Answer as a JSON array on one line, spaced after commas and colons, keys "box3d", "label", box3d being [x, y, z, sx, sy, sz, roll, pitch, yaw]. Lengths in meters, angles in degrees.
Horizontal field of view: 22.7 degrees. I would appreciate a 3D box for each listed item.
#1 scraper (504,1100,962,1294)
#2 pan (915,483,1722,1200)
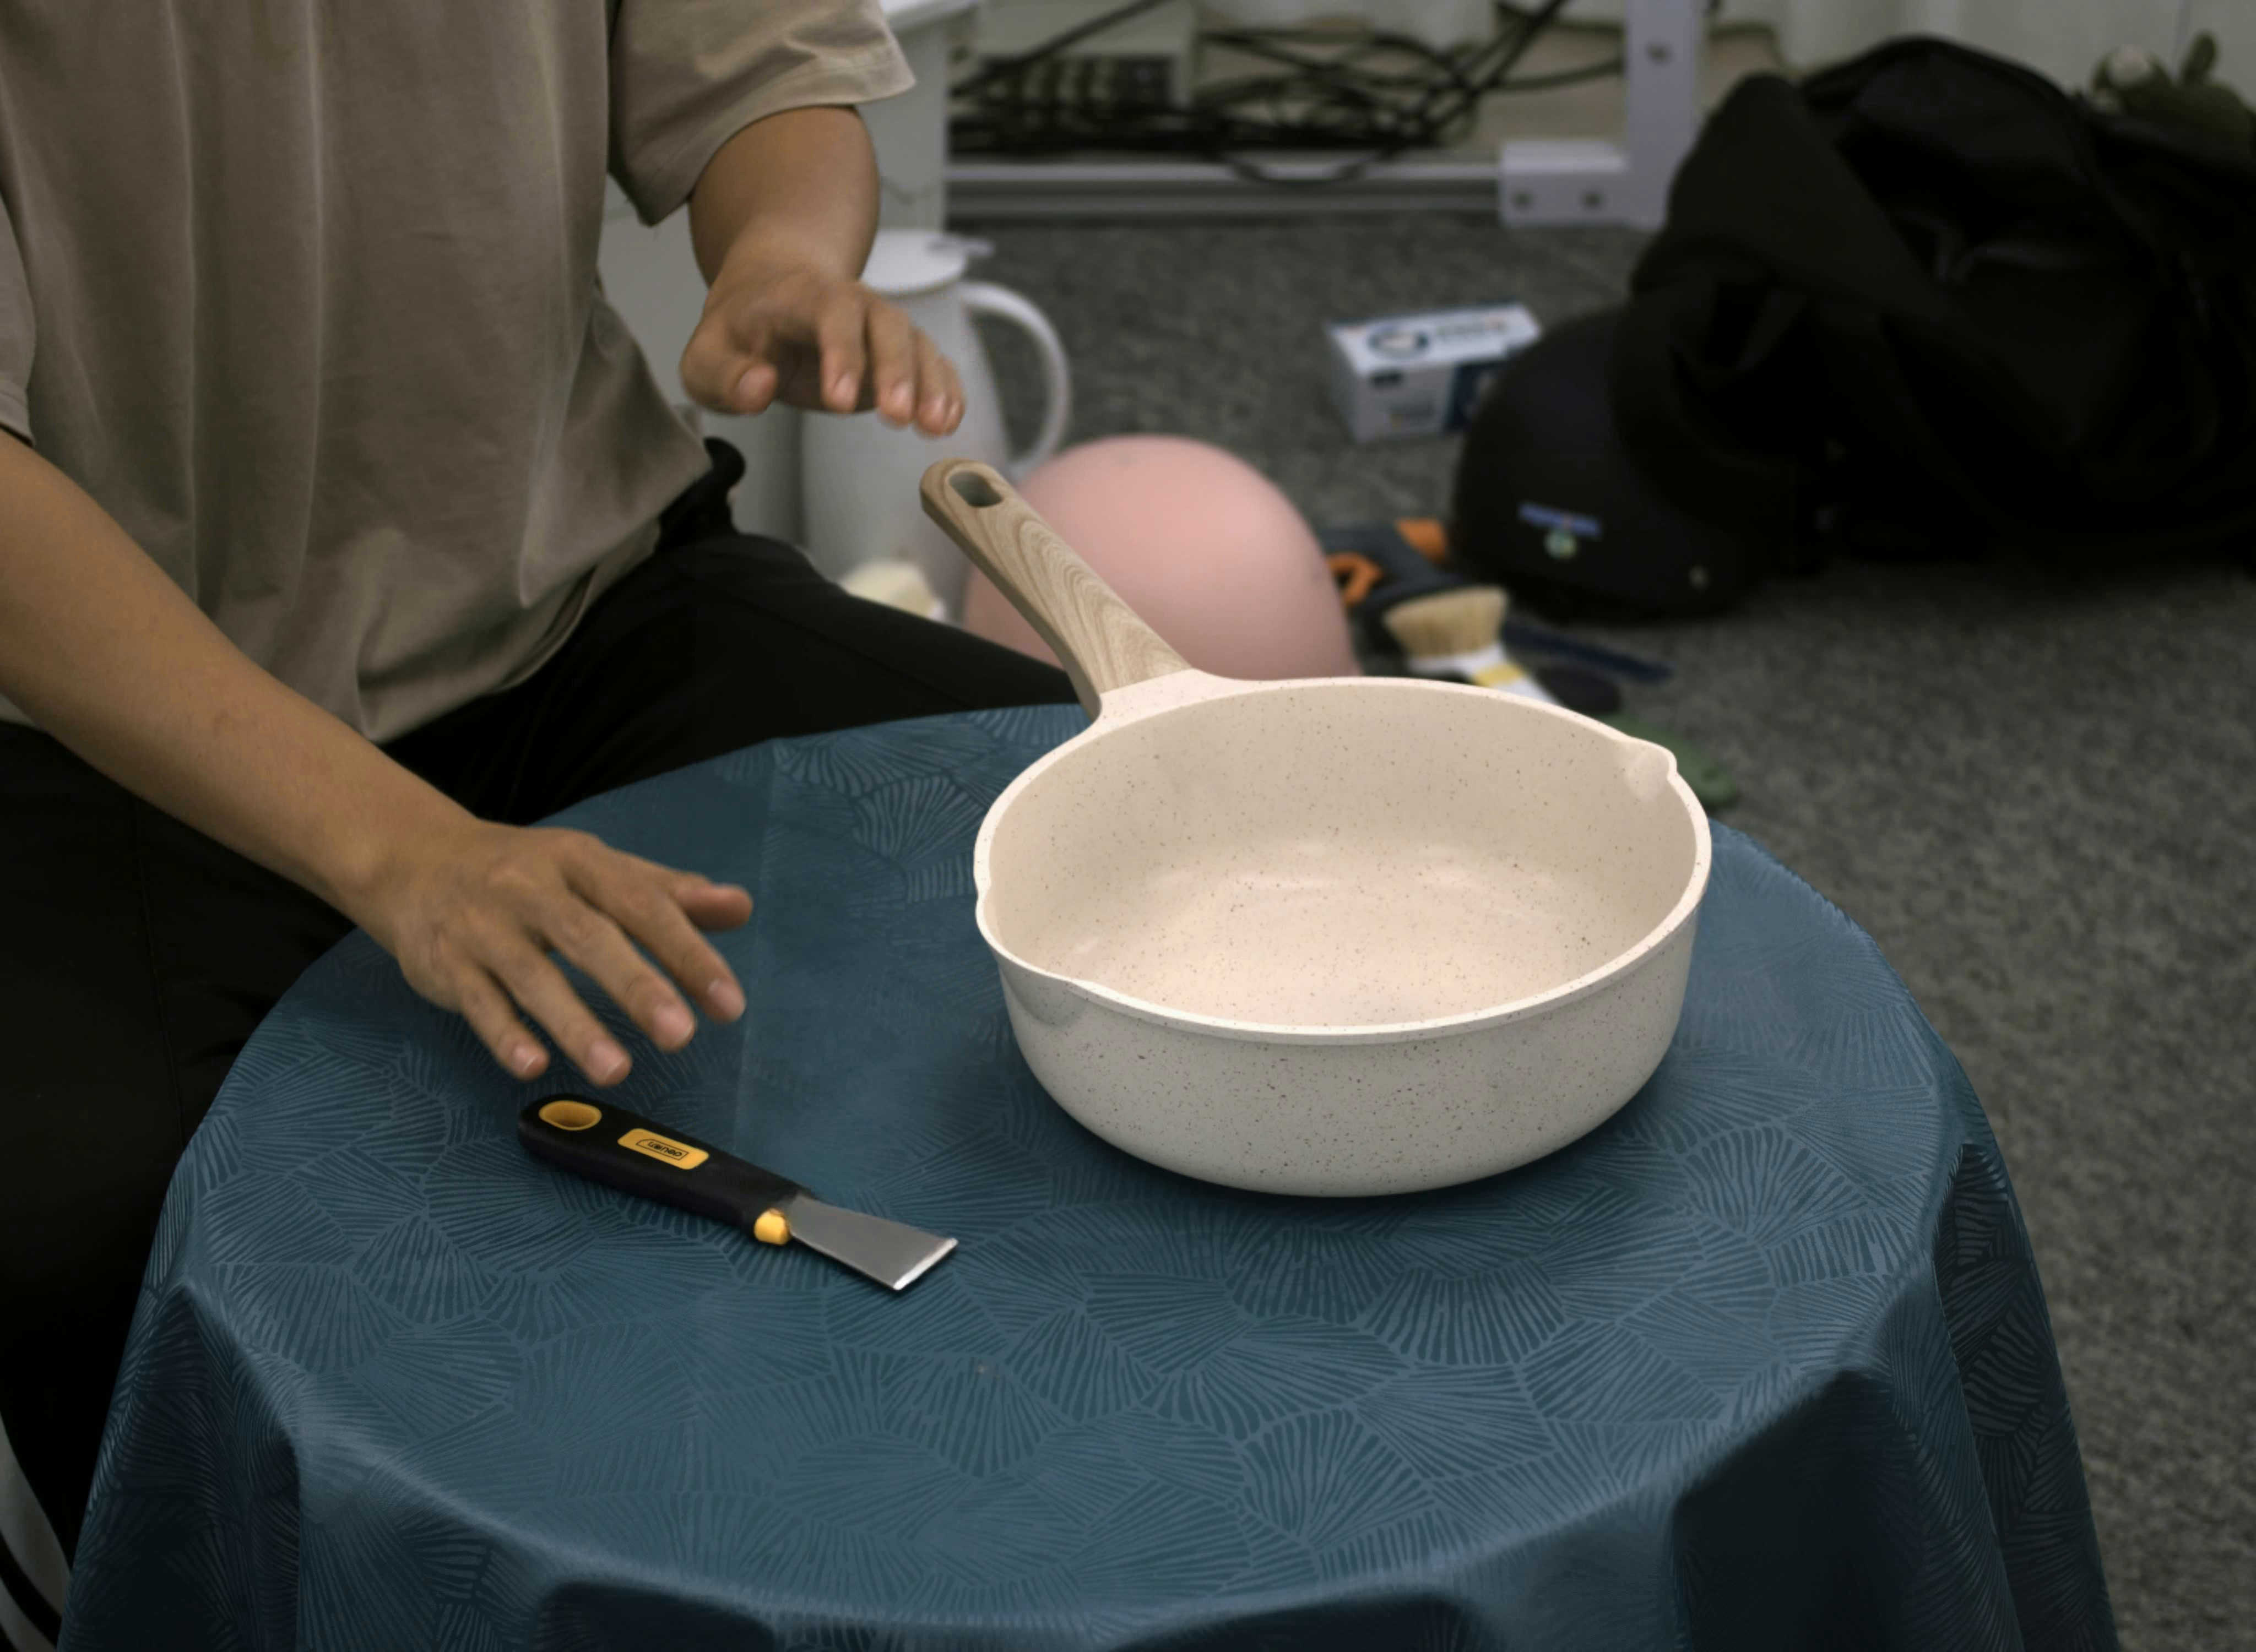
[{"box3d": [-0.135, 0.122, 1.856, 0.170, 0.015, 0.039, 16, 36, 27], "label": "scraper"}, {"box3d": [0.036, -0.001, 1.995, 0.265, 0.101, 0.437, -18, 31, -22], "label": "pan"}]
